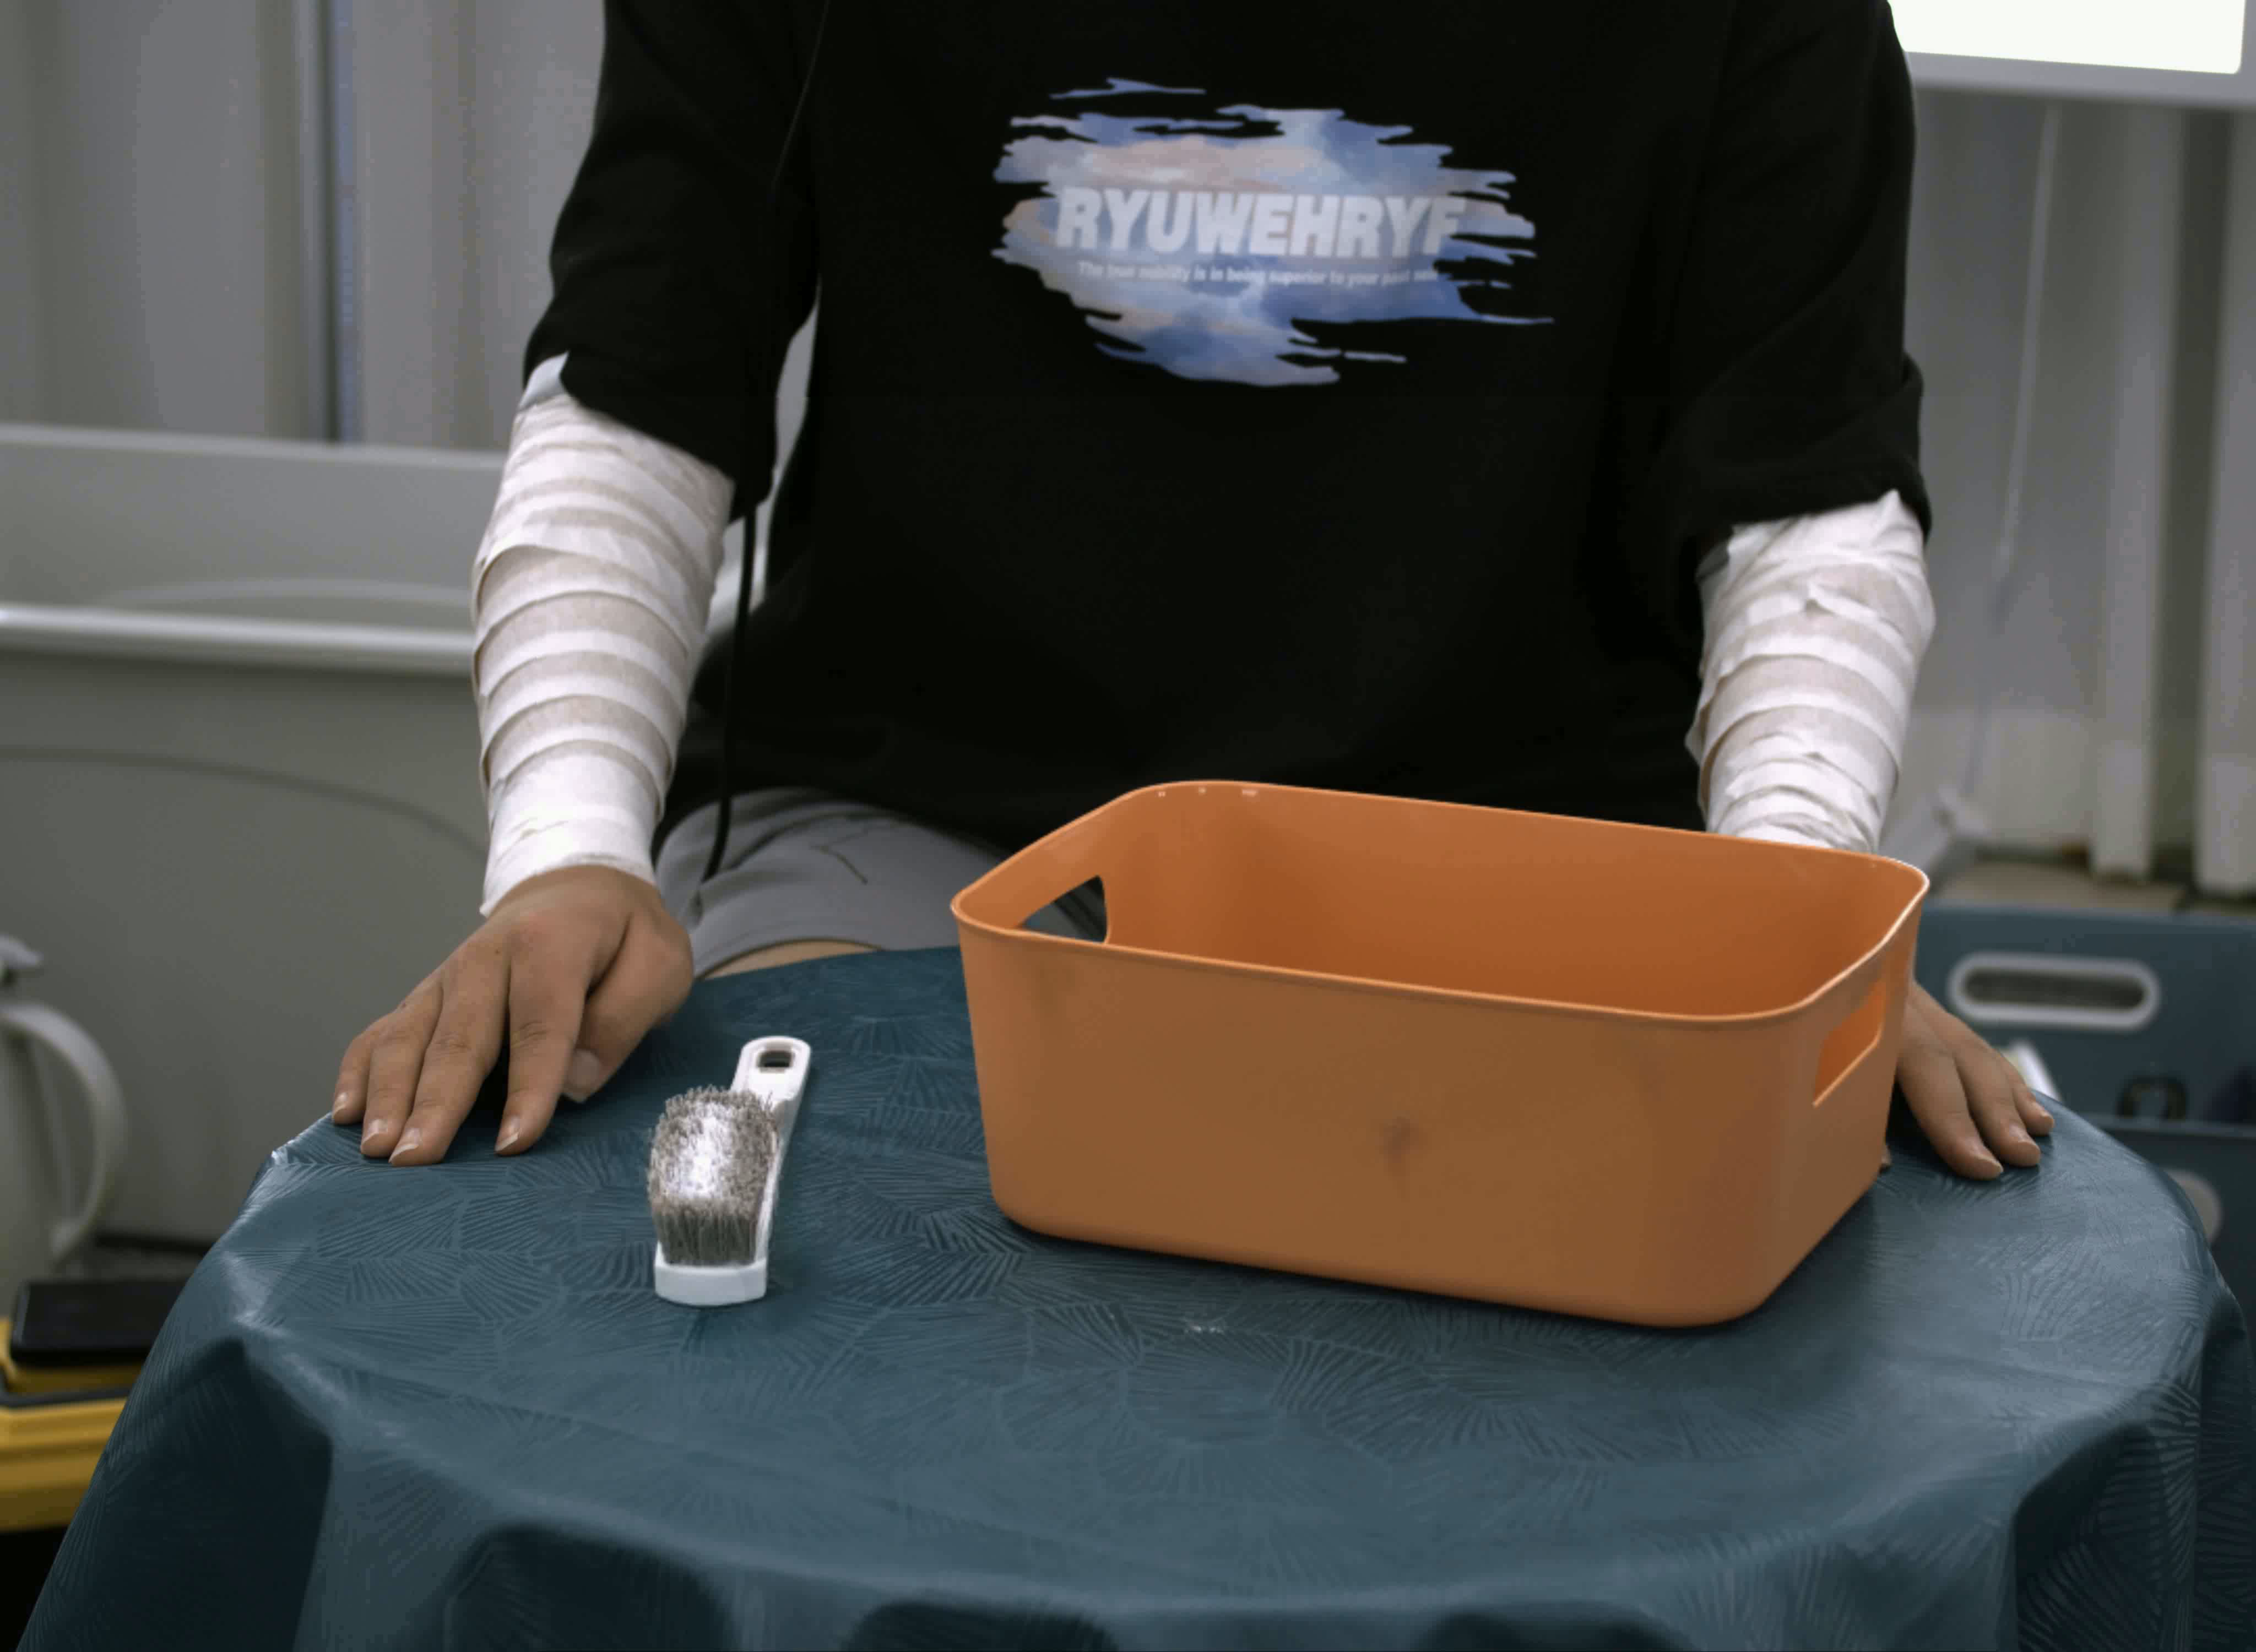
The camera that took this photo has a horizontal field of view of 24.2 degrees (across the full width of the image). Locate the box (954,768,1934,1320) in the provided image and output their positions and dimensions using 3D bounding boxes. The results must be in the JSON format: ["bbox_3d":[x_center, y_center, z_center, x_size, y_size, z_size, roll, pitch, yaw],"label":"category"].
[{"bbox_3d":[0.097,0.063,1.601,0.270,0.103,0.199,7,18,21],"label":"box"}]

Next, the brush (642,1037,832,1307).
[{"bbox_3d":[-0.117,0.086,1.622,0.034,0.050,0.242,0,15,4],"label":"brush"}]
